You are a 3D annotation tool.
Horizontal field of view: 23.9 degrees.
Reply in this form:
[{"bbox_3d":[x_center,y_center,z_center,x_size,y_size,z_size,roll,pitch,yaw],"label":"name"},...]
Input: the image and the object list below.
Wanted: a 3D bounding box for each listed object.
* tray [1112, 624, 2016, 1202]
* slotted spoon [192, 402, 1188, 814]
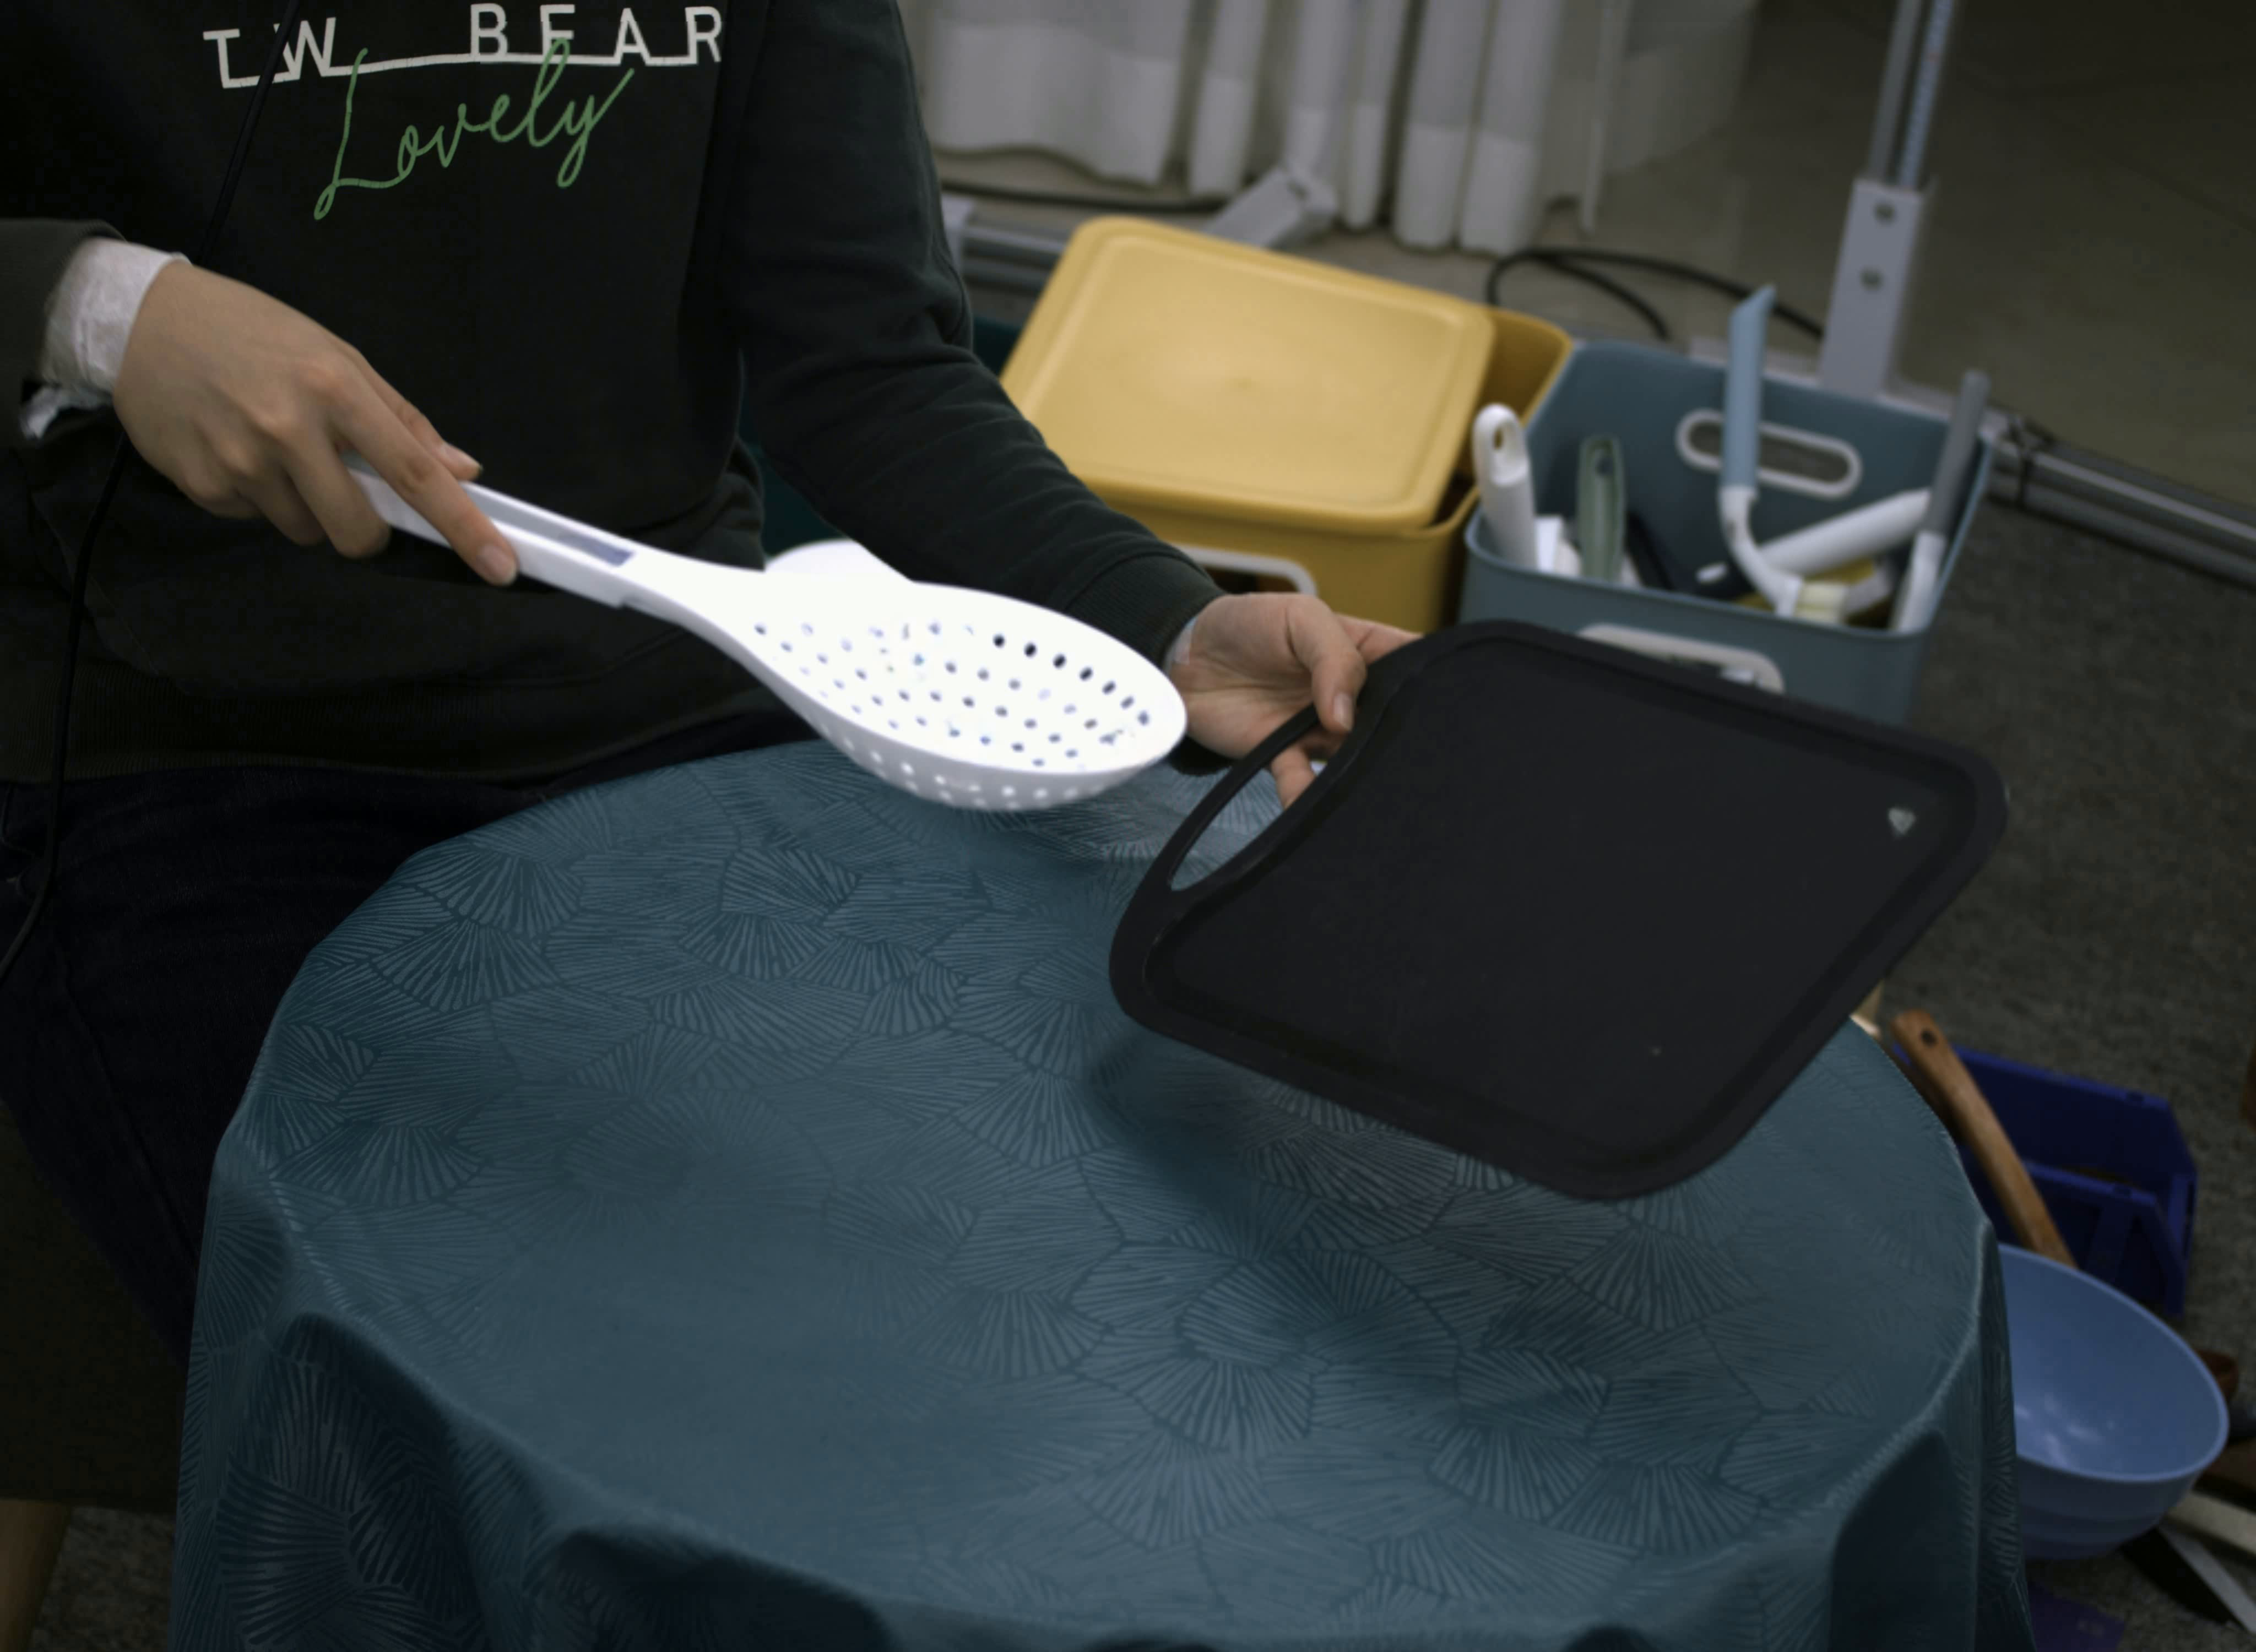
[{"bbox_3d":[0.133,0.021,1.789,0.211,0.010,0.328,-45,35,-19],"label":"tray"},{"bbox_3d":[-0.147,-0.076,1.732,0.350,0.045,0.136,24,24,12],"label":"slotted spoon"}]
